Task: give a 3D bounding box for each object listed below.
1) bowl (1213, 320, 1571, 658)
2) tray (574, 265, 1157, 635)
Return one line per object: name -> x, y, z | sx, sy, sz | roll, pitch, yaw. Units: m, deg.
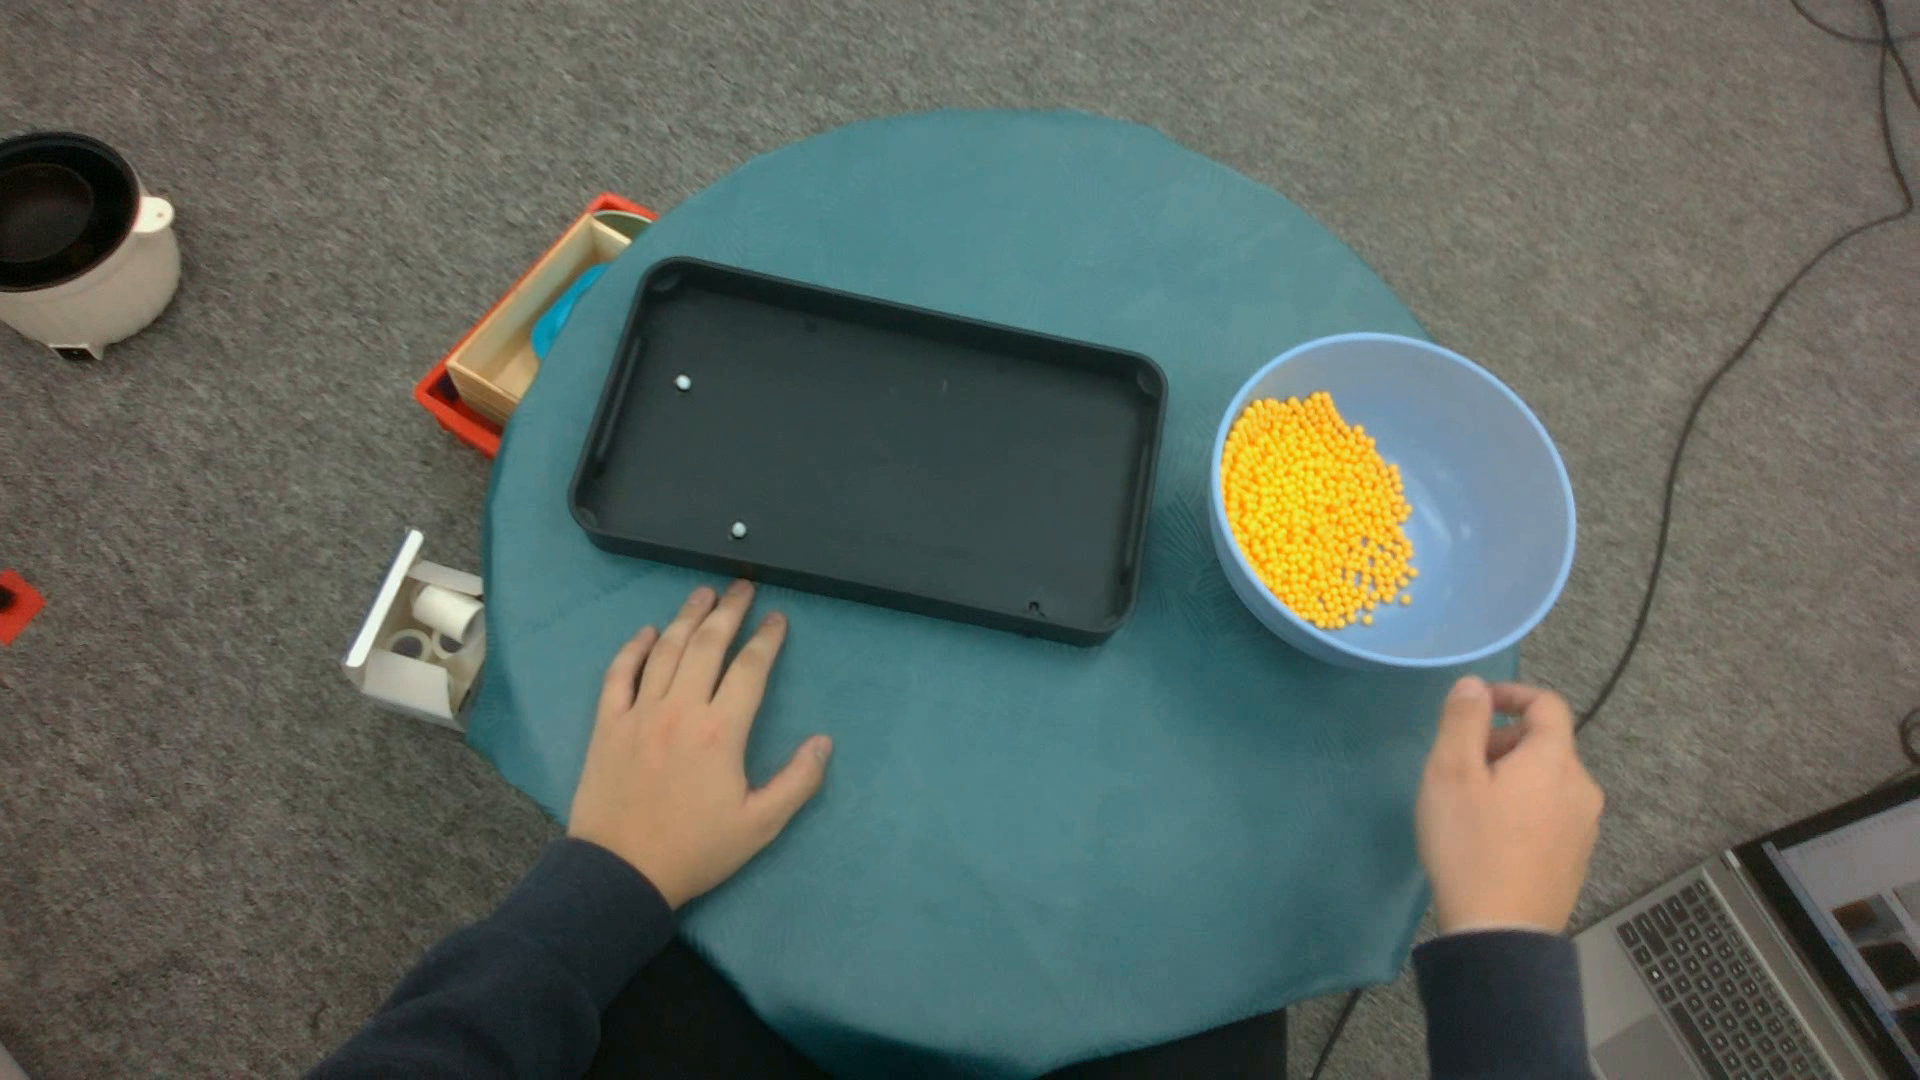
bowl -> 0.230, -0.016, 0.783 | 0.196, 0.095, 0.197 | 2, 67, -5
tray -> -0.049, -0.053, 0.808 | 0.318, 0.037, 0.185 | 9, 67, -2
